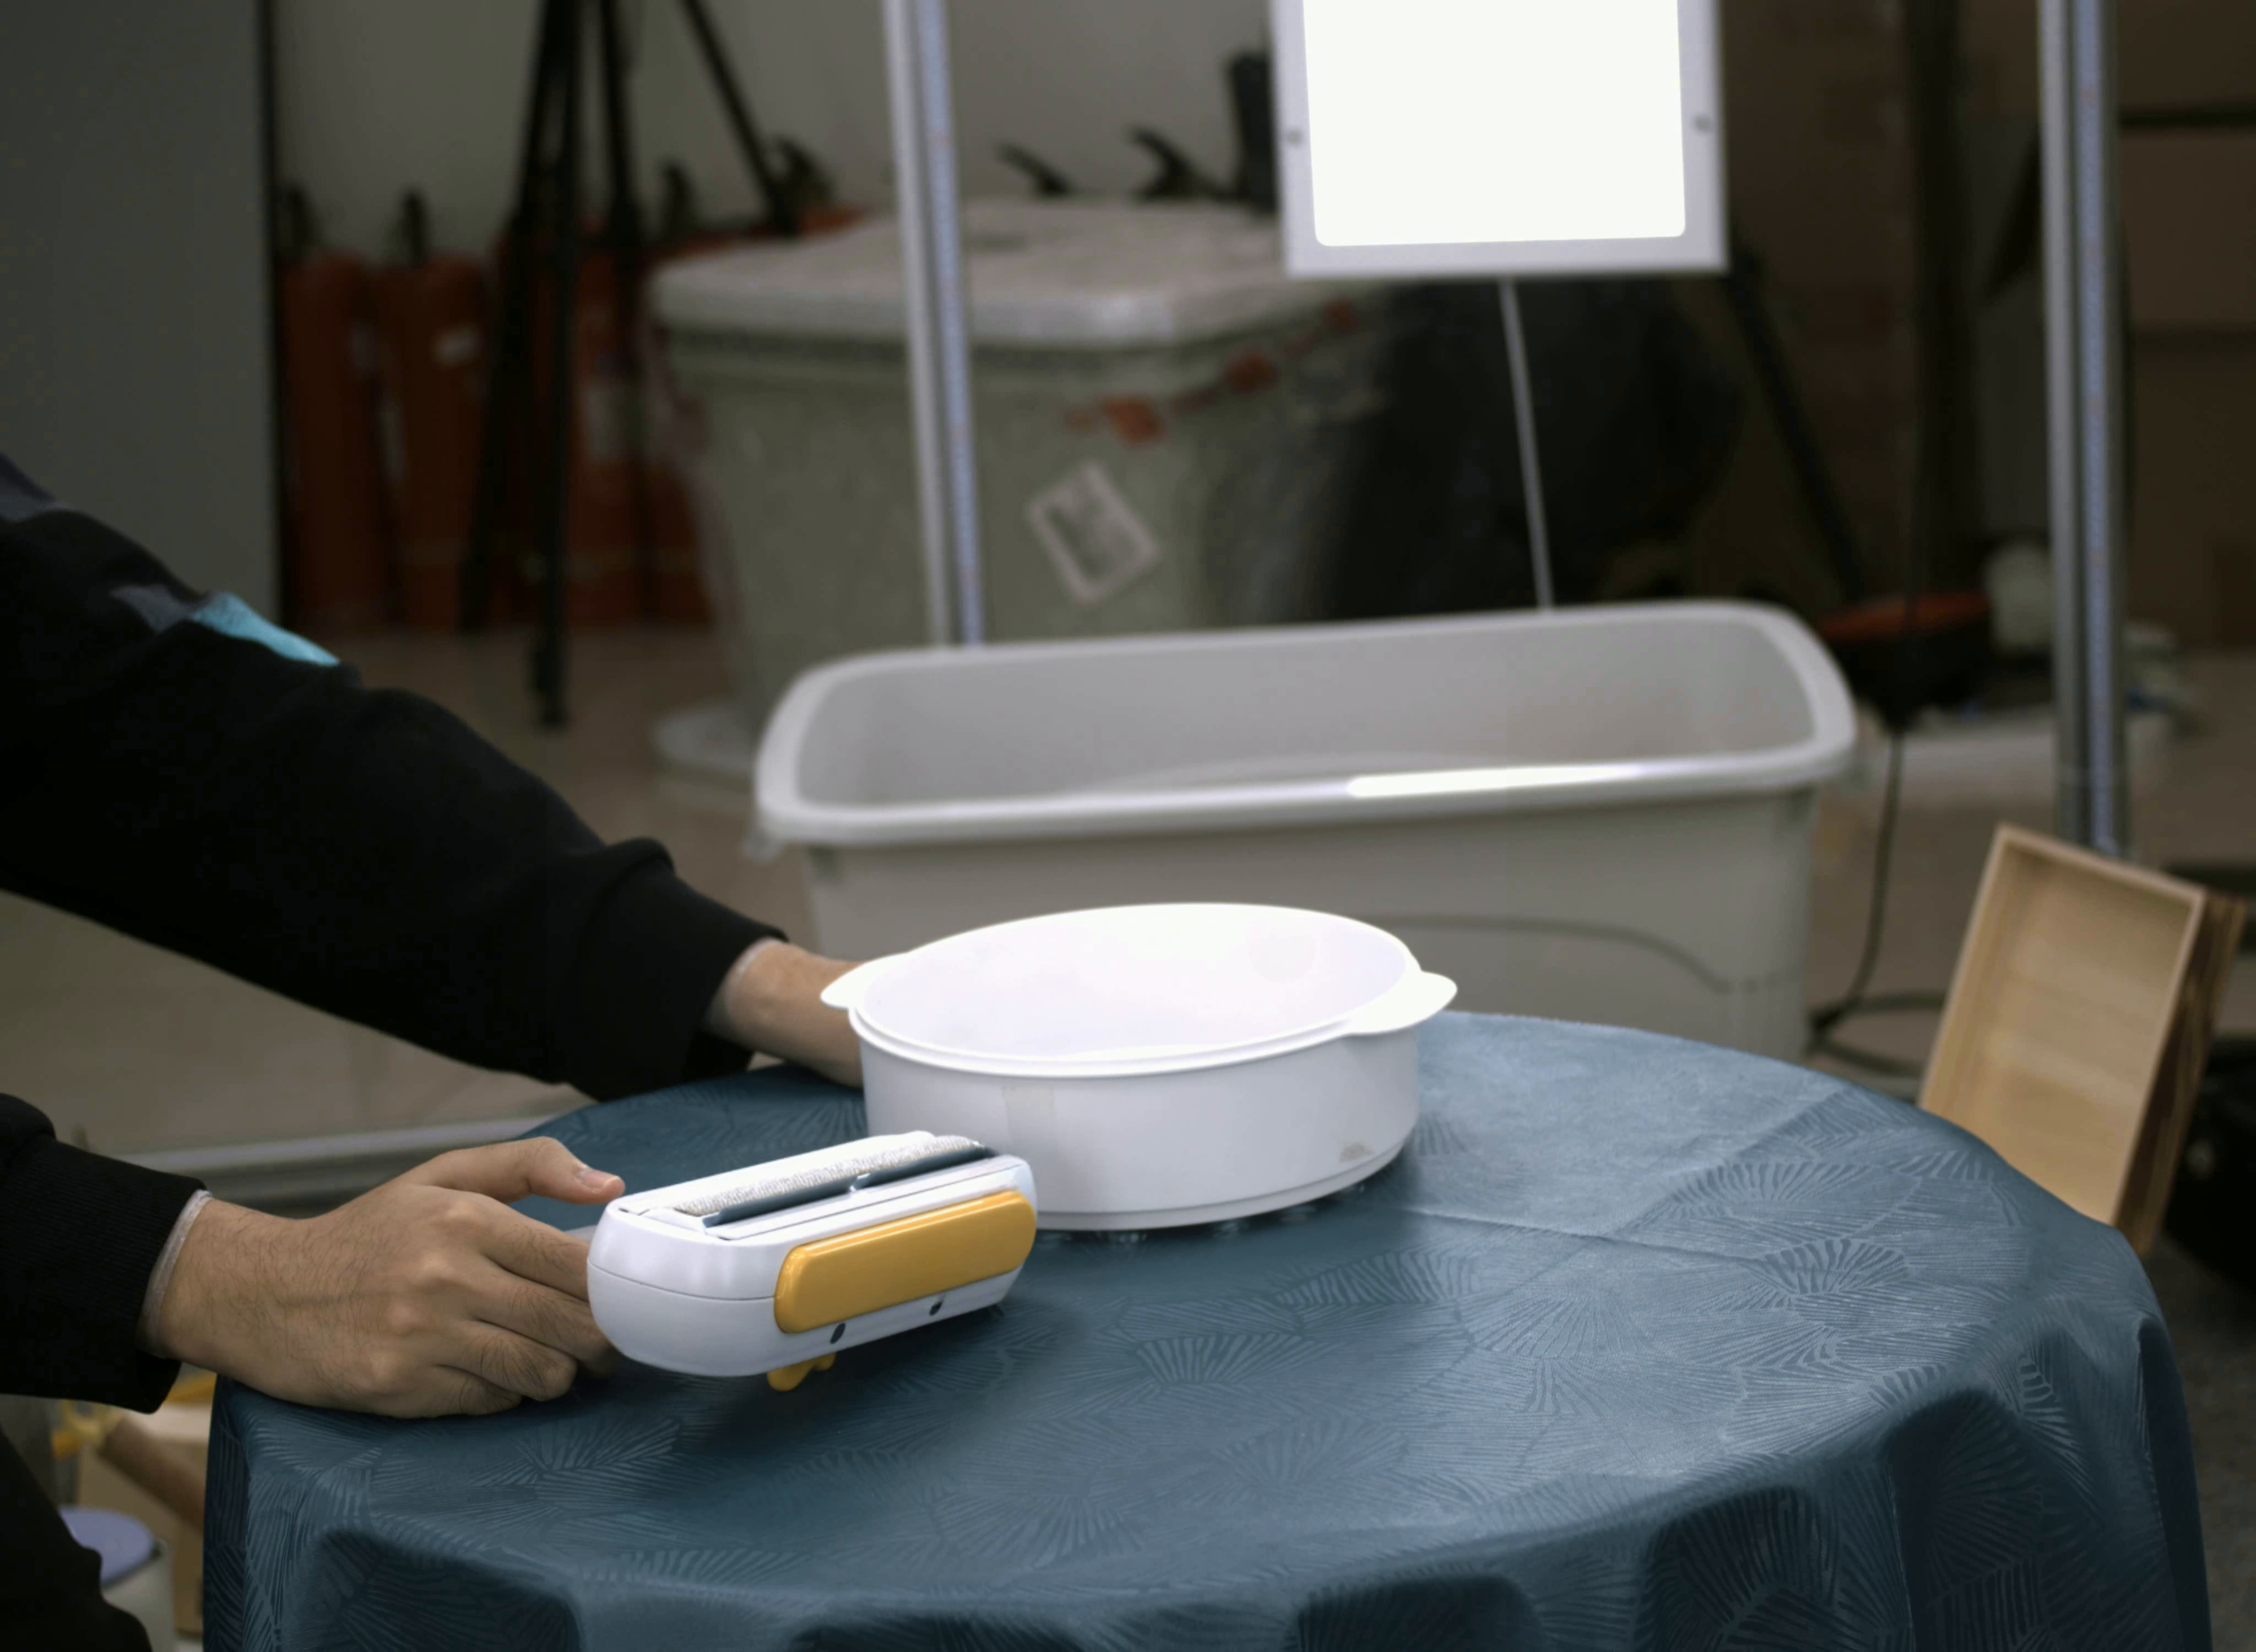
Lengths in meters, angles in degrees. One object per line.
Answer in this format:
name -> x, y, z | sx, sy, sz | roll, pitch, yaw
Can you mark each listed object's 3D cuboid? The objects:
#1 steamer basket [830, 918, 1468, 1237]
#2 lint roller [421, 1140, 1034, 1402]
steamer basket -> 0.009, 0.087, 1.919 | 0.234, 0.069, 0.198 | -1, 13, 26
lint roller -> -0.149, 0.139, 1.759 | 0.196, 0.074, 0.188 | 3, 10, 35
